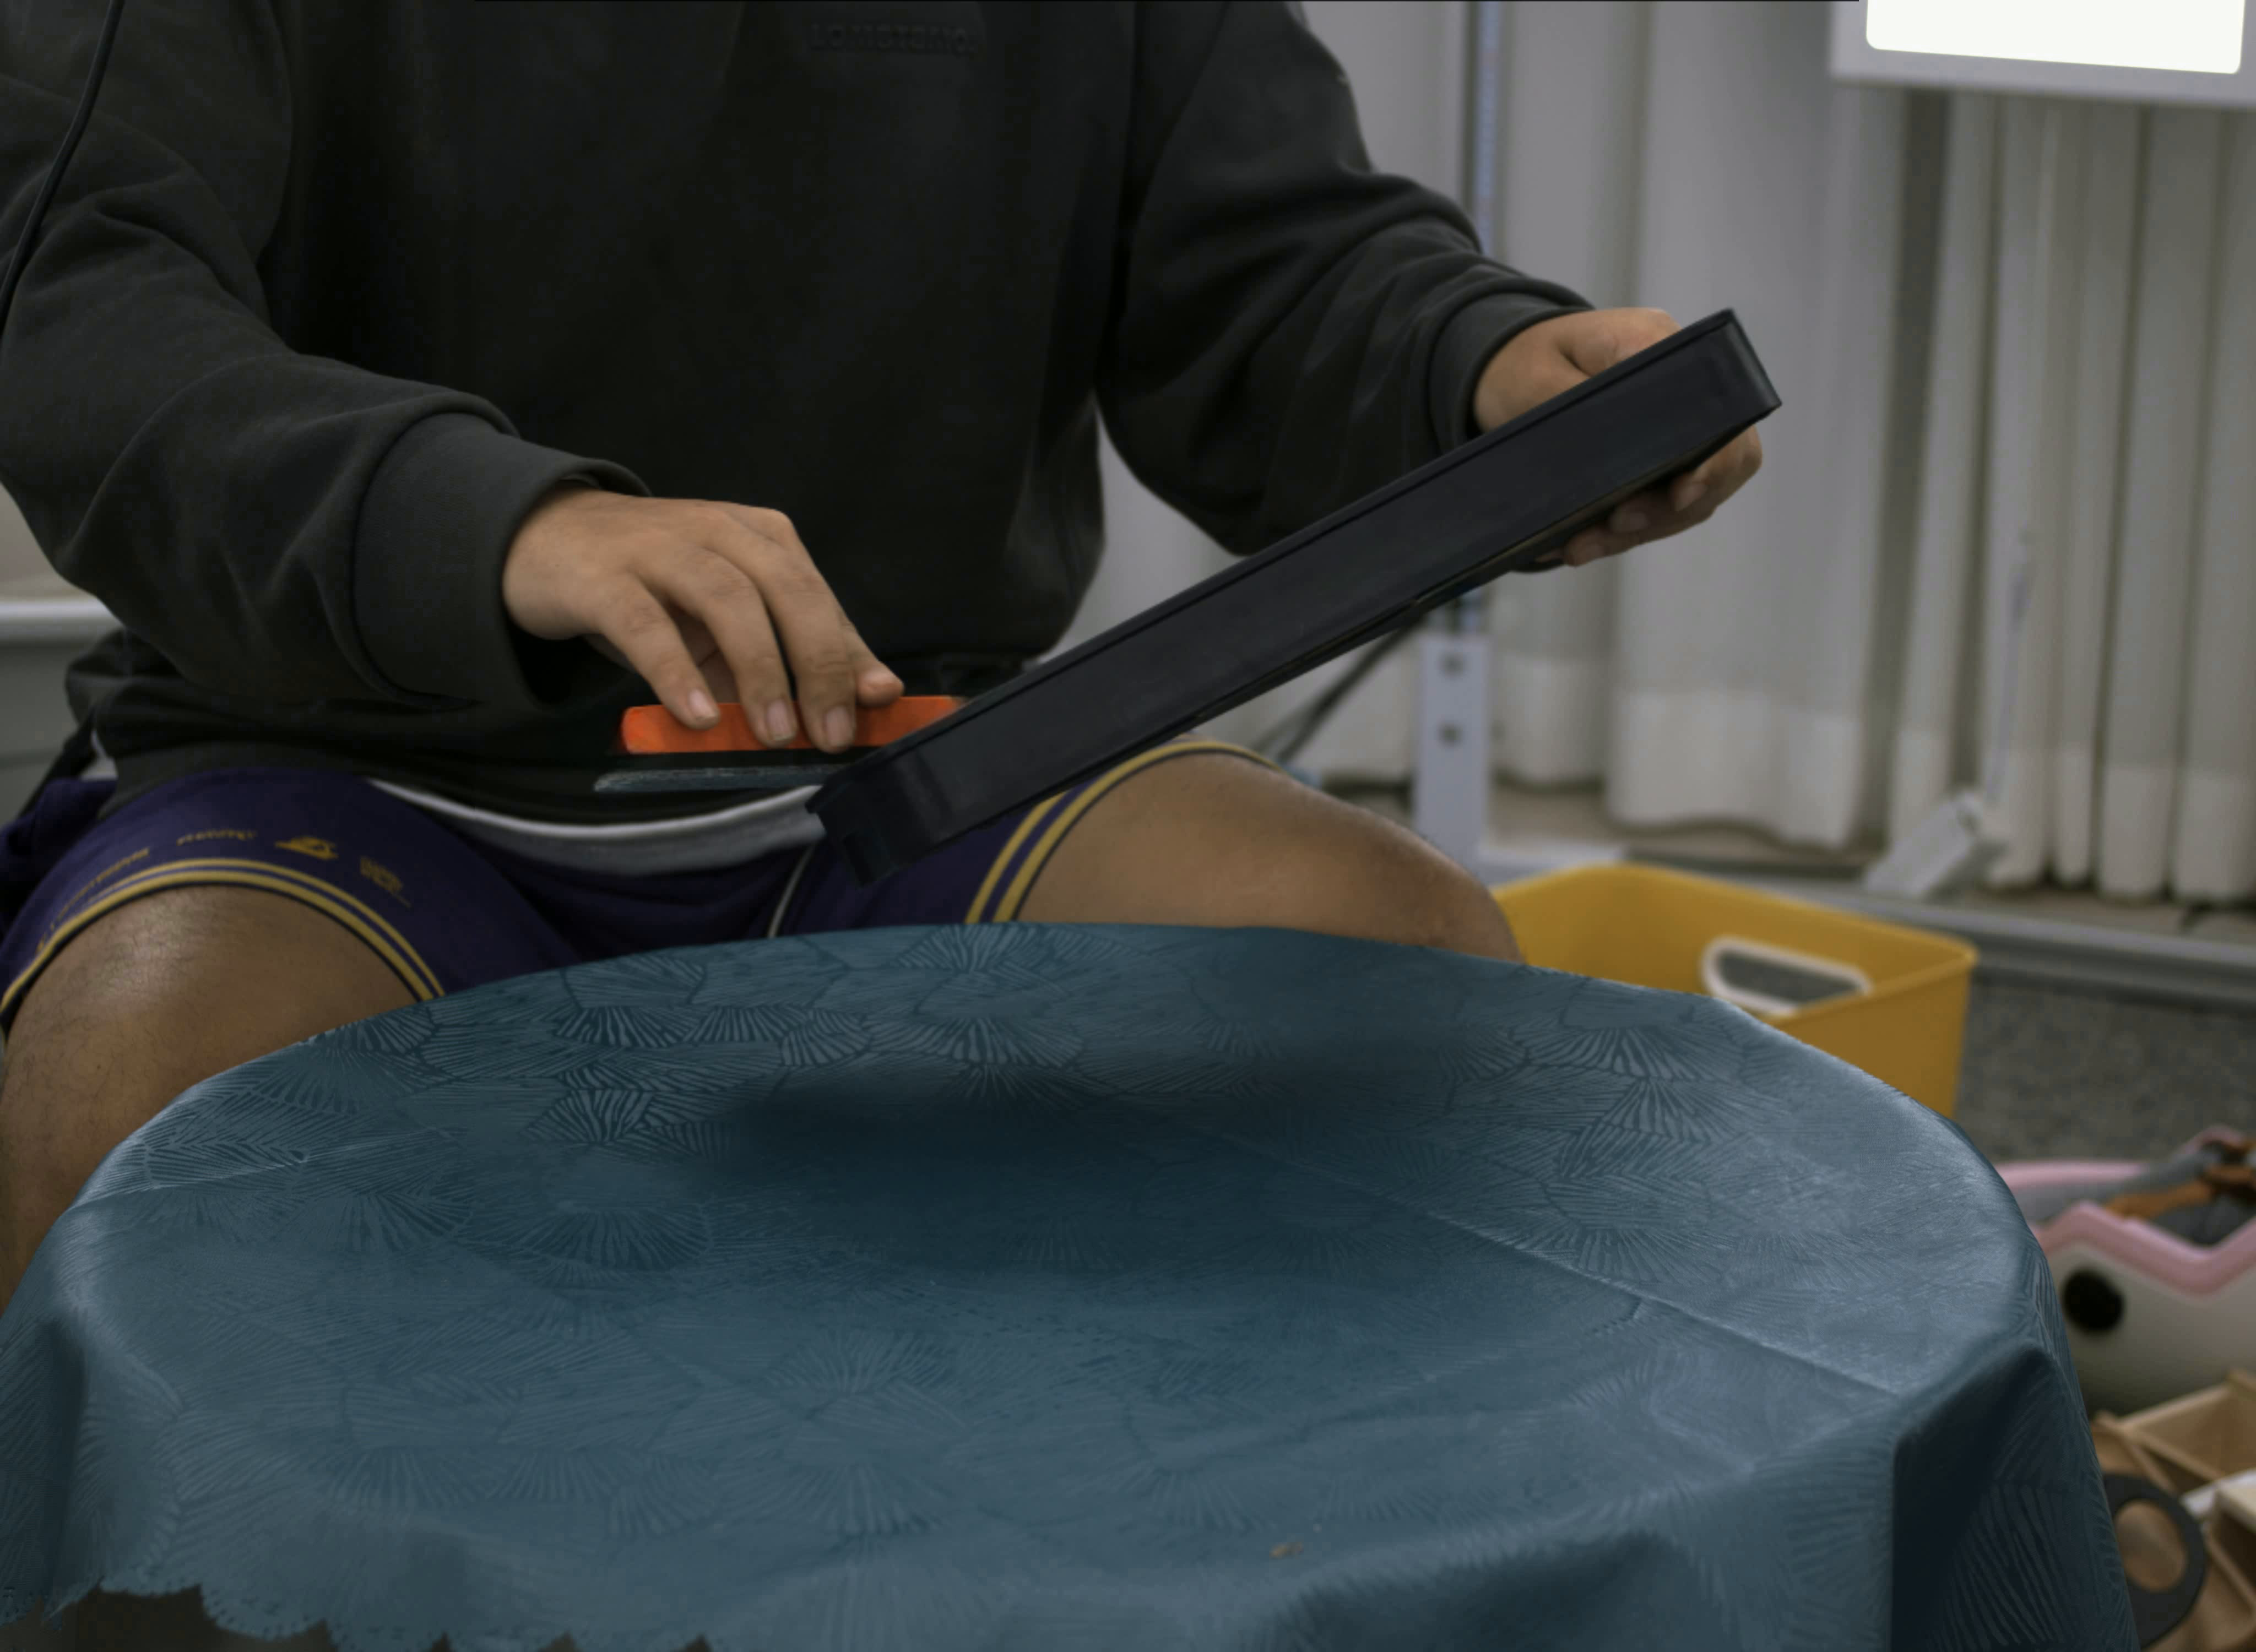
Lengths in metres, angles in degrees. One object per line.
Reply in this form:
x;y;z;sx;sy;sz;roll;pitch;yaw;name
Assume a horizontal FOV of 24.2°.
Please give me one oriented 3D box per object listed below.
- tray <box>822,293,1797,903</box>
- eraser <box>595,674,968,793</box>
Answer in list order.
0.055;-0.069;1.675;0.318;0.037;0.184;-28;-2;-11;tray
-0.106;-0.028;1.617;0.108;0.023;0.059;-3;-12;-23;eraser
